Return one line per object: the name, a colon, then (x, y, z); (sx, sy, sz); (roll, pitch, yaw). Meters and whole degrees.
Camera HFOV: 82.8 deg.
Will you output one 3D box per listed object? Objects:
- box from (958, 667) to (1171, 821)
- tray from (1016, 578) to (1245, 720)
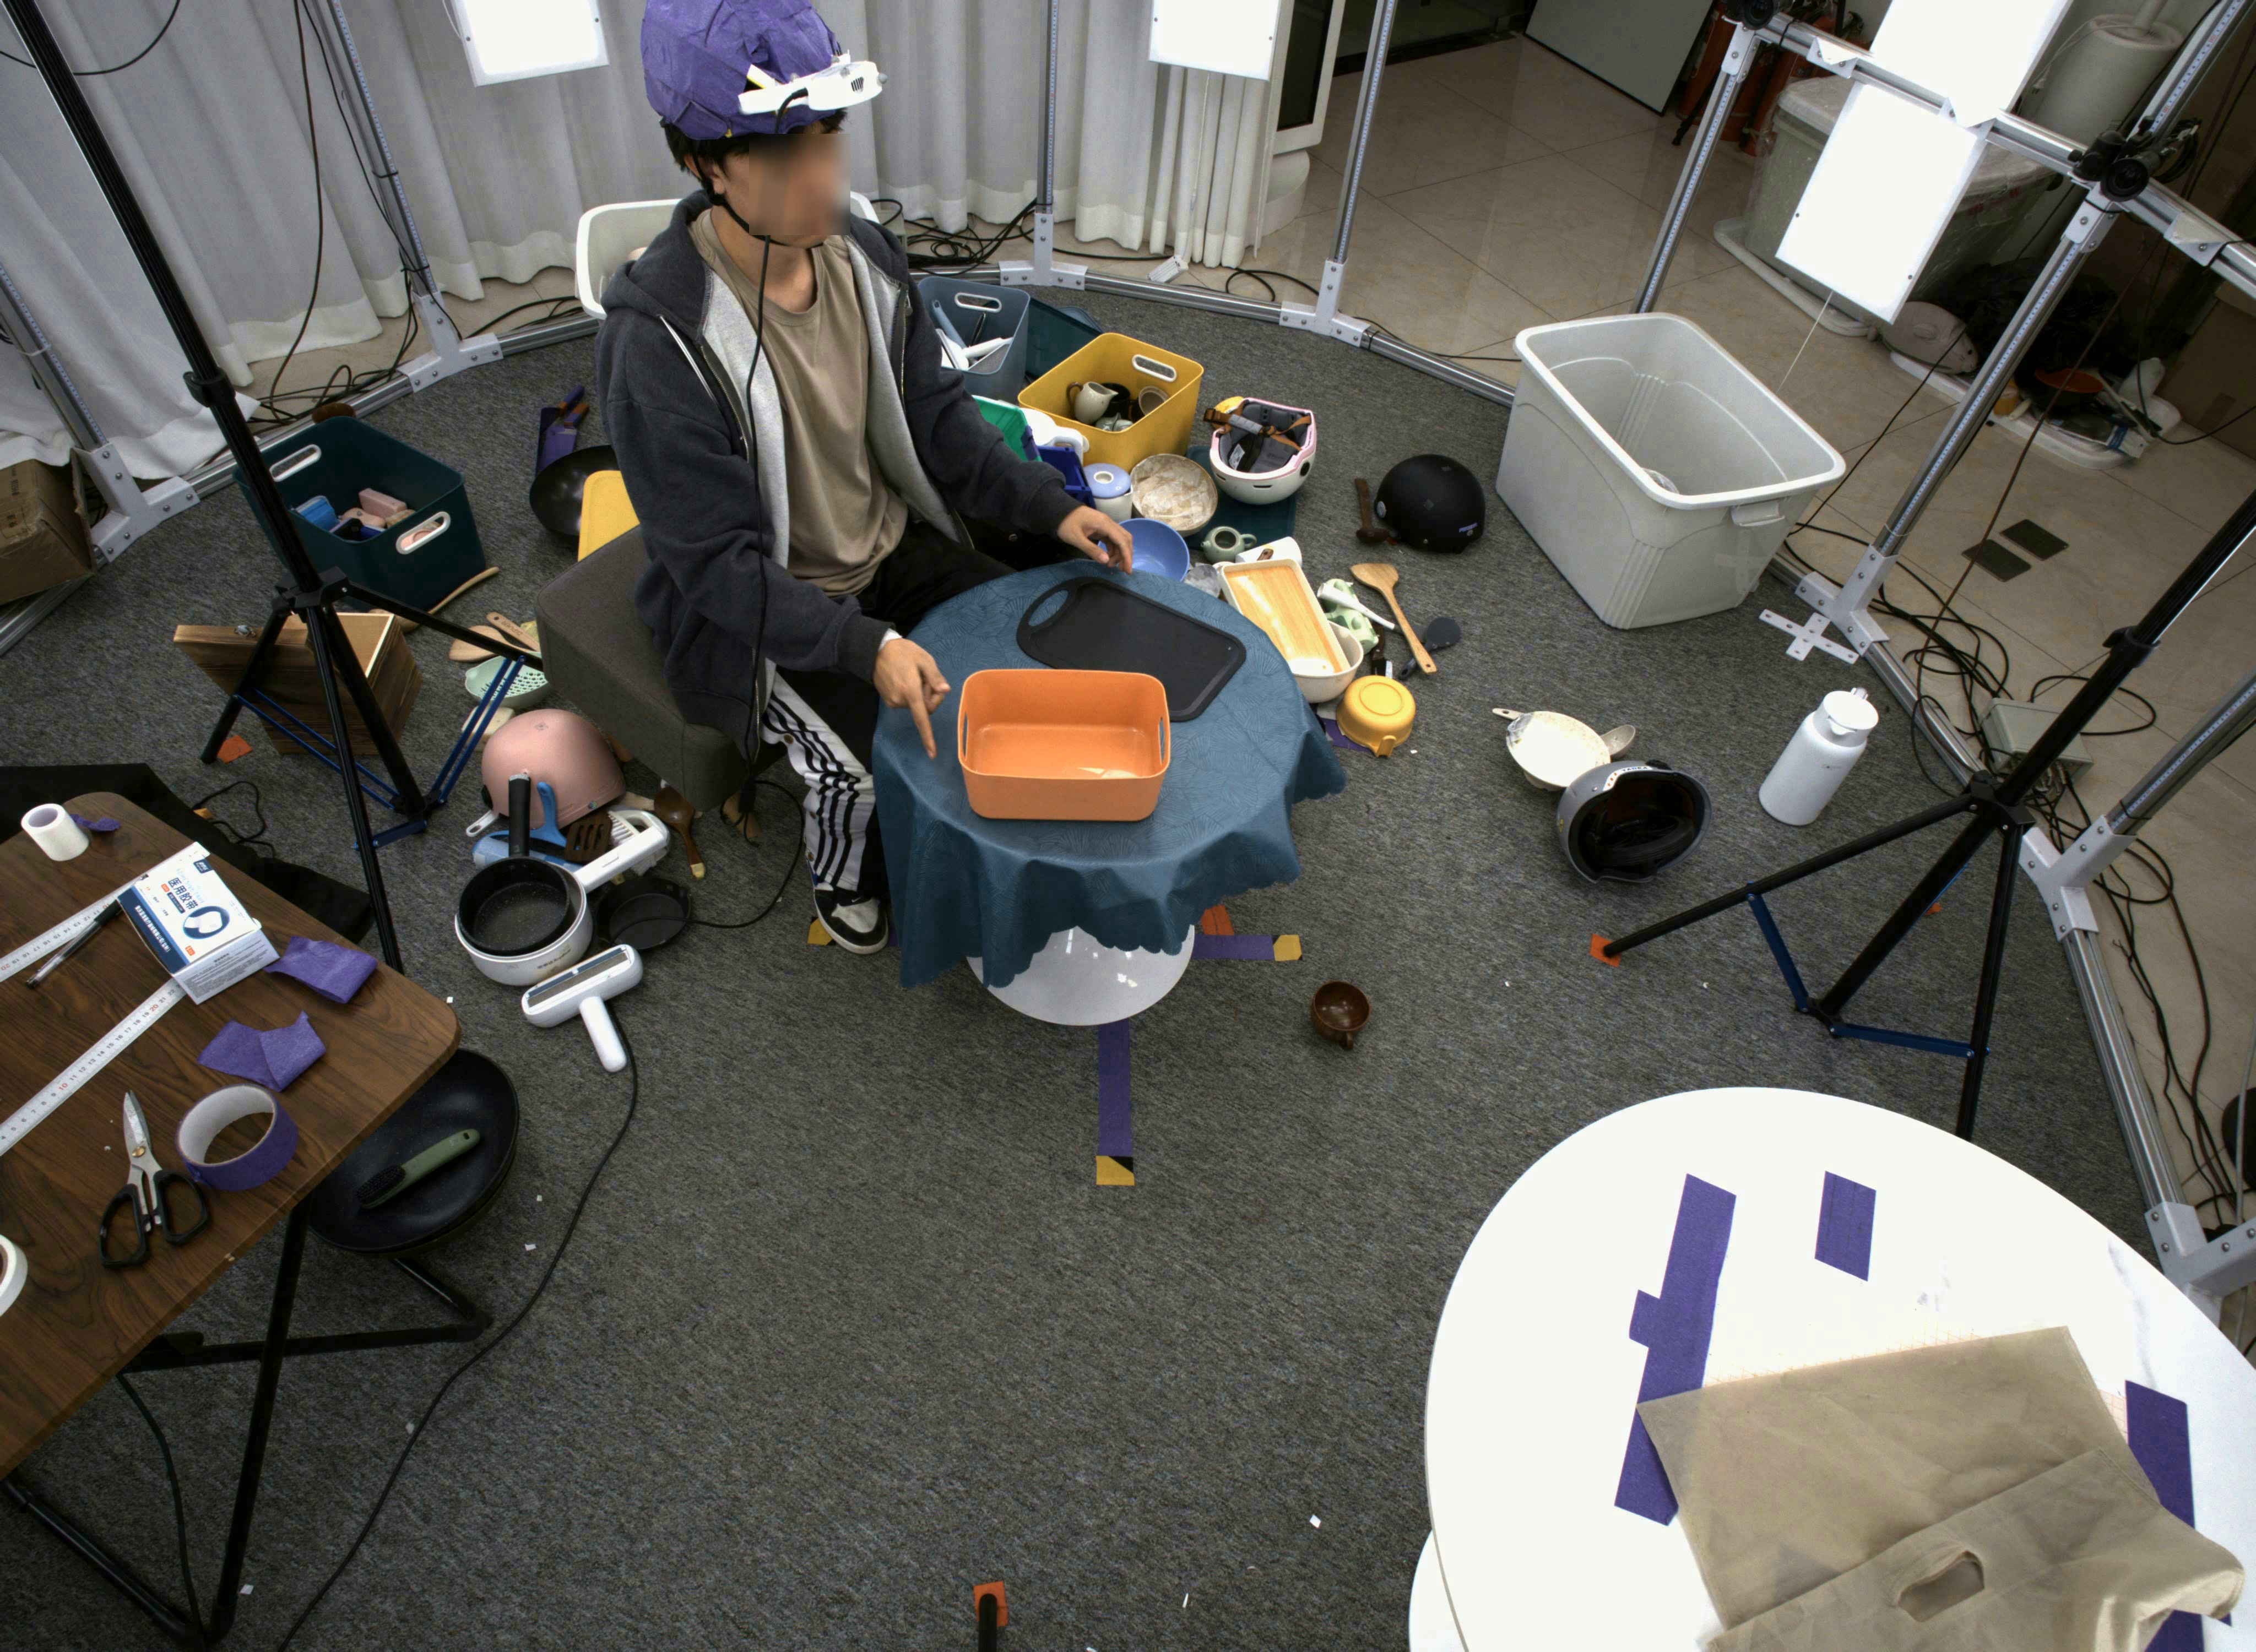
box: (-0.084, -0.104, 1.683); (0.273, 0.100, 0.204); (1, 49, -4)
tray: (-0.003, -0.270, 1.897); (0.328, 0.009, 0.214); (26, 52, 18)
